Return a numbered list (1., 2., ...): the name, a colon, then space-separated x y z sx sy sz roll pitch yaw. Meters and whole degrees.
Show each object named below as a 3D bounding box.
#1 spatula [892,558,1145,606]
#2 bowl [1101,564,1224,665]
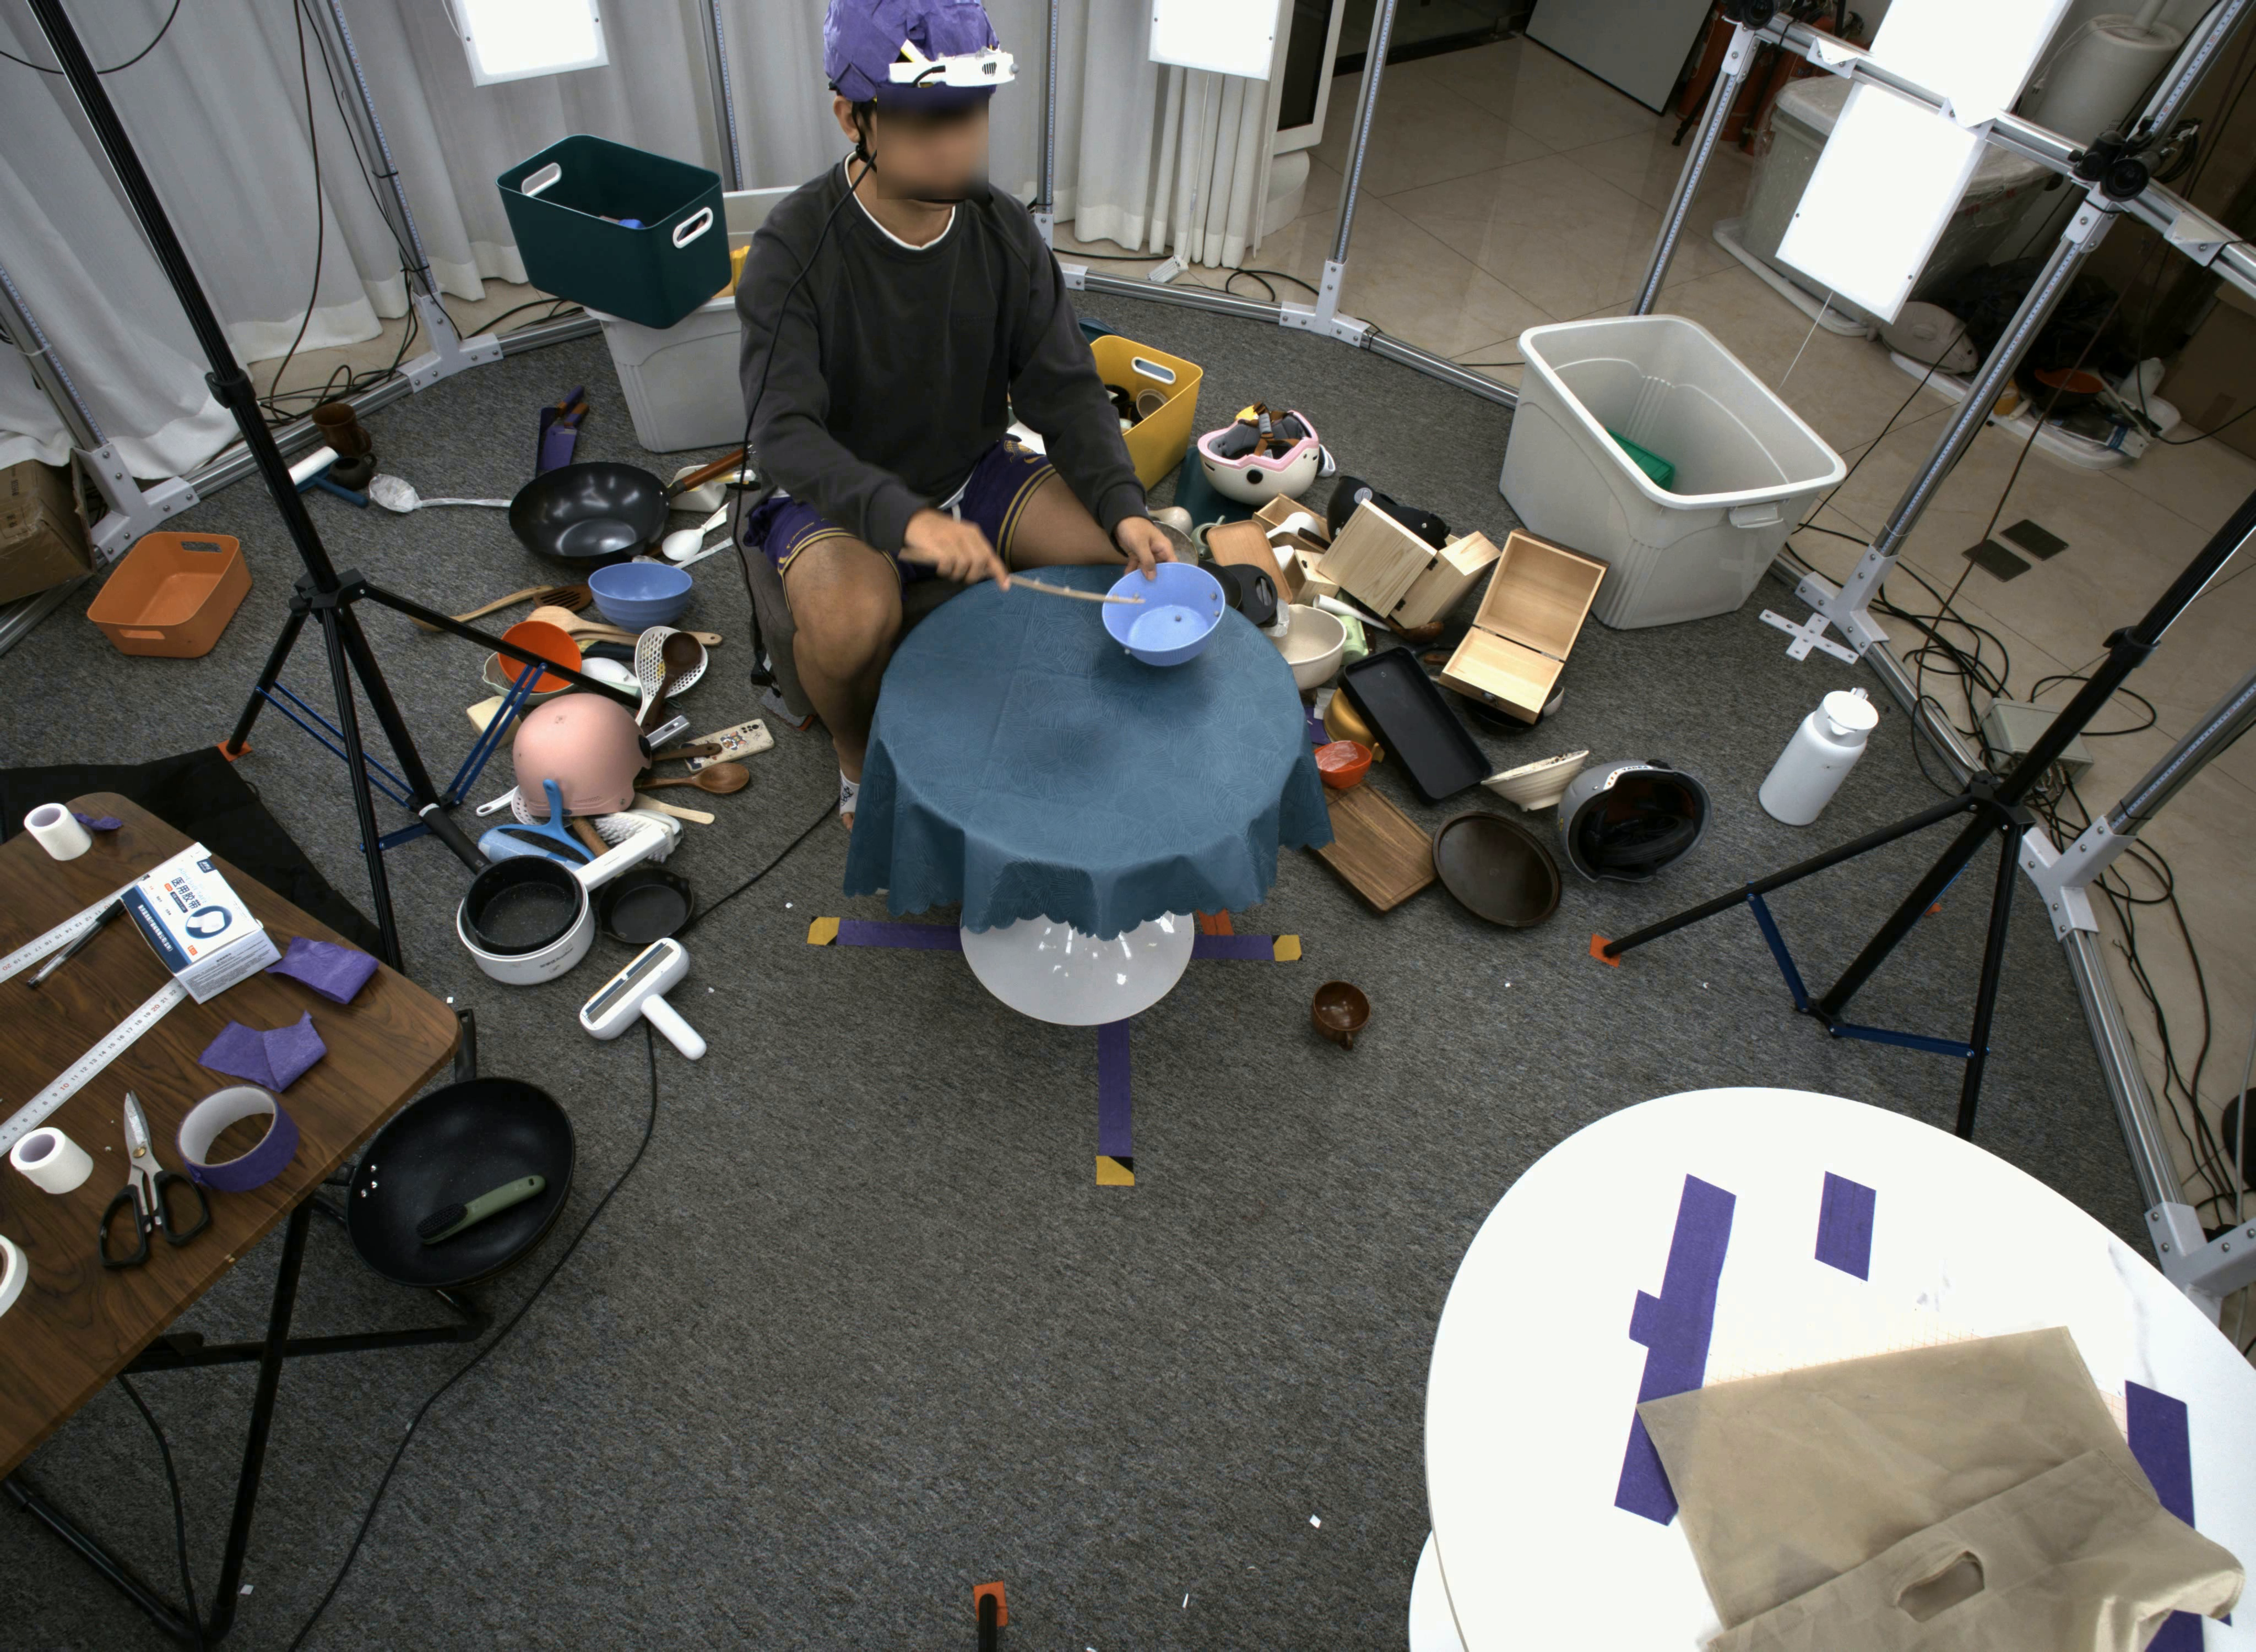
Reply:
1. spatula: -0.139 -0.310 1.652 0.325 0.016 0.080 8 5 -22
2. bowl: 0.053 -0.296 1.851 0.176 0.068 0.180 -5 51 6
